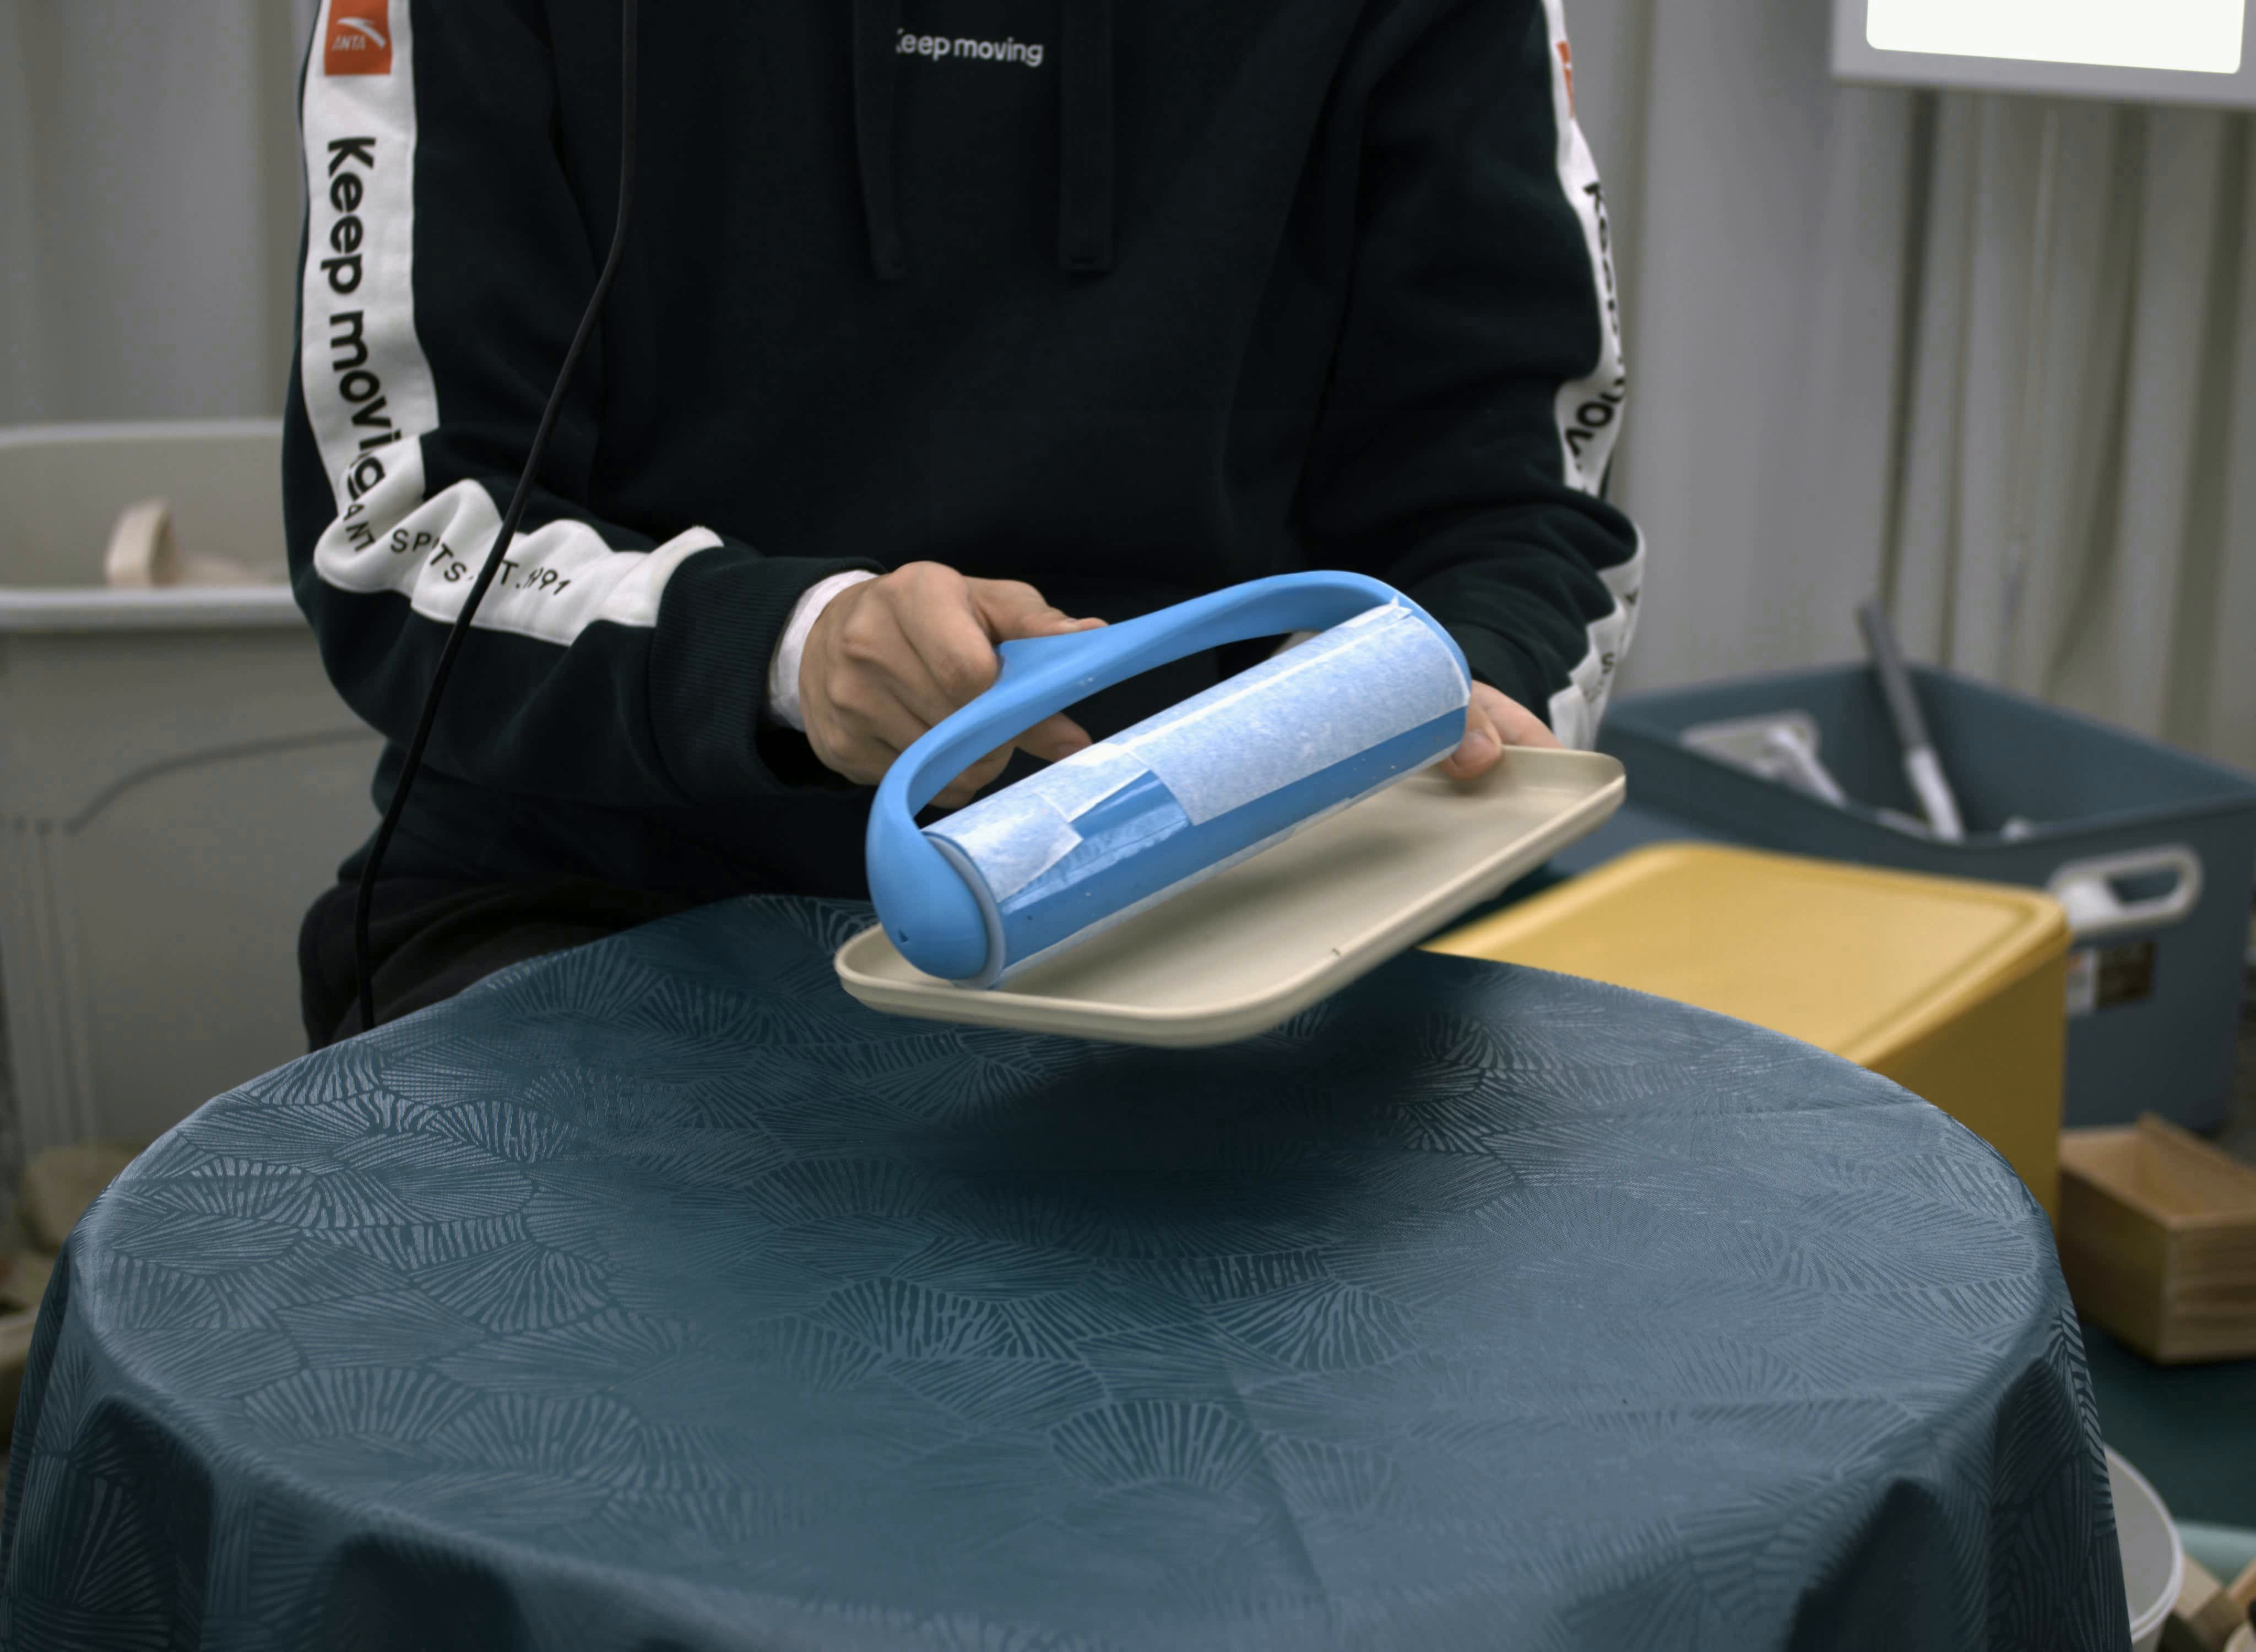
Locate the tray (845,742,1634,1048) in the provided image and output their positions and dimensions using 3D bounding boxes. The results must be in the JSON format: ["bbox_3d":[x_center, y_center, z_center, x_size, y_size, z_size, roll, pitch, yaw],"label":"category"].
[{"bbox_3d":[0.038,0.019,1.657,0.169,0.017,0.240,5,22,38],"label":"tray"}]

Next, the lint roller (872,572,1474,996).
[{"bbox_3d":[-0.021,-0.027,1.673,0.229,0.069,0.178,-30,35,-34],"label":"lint roller"}]
